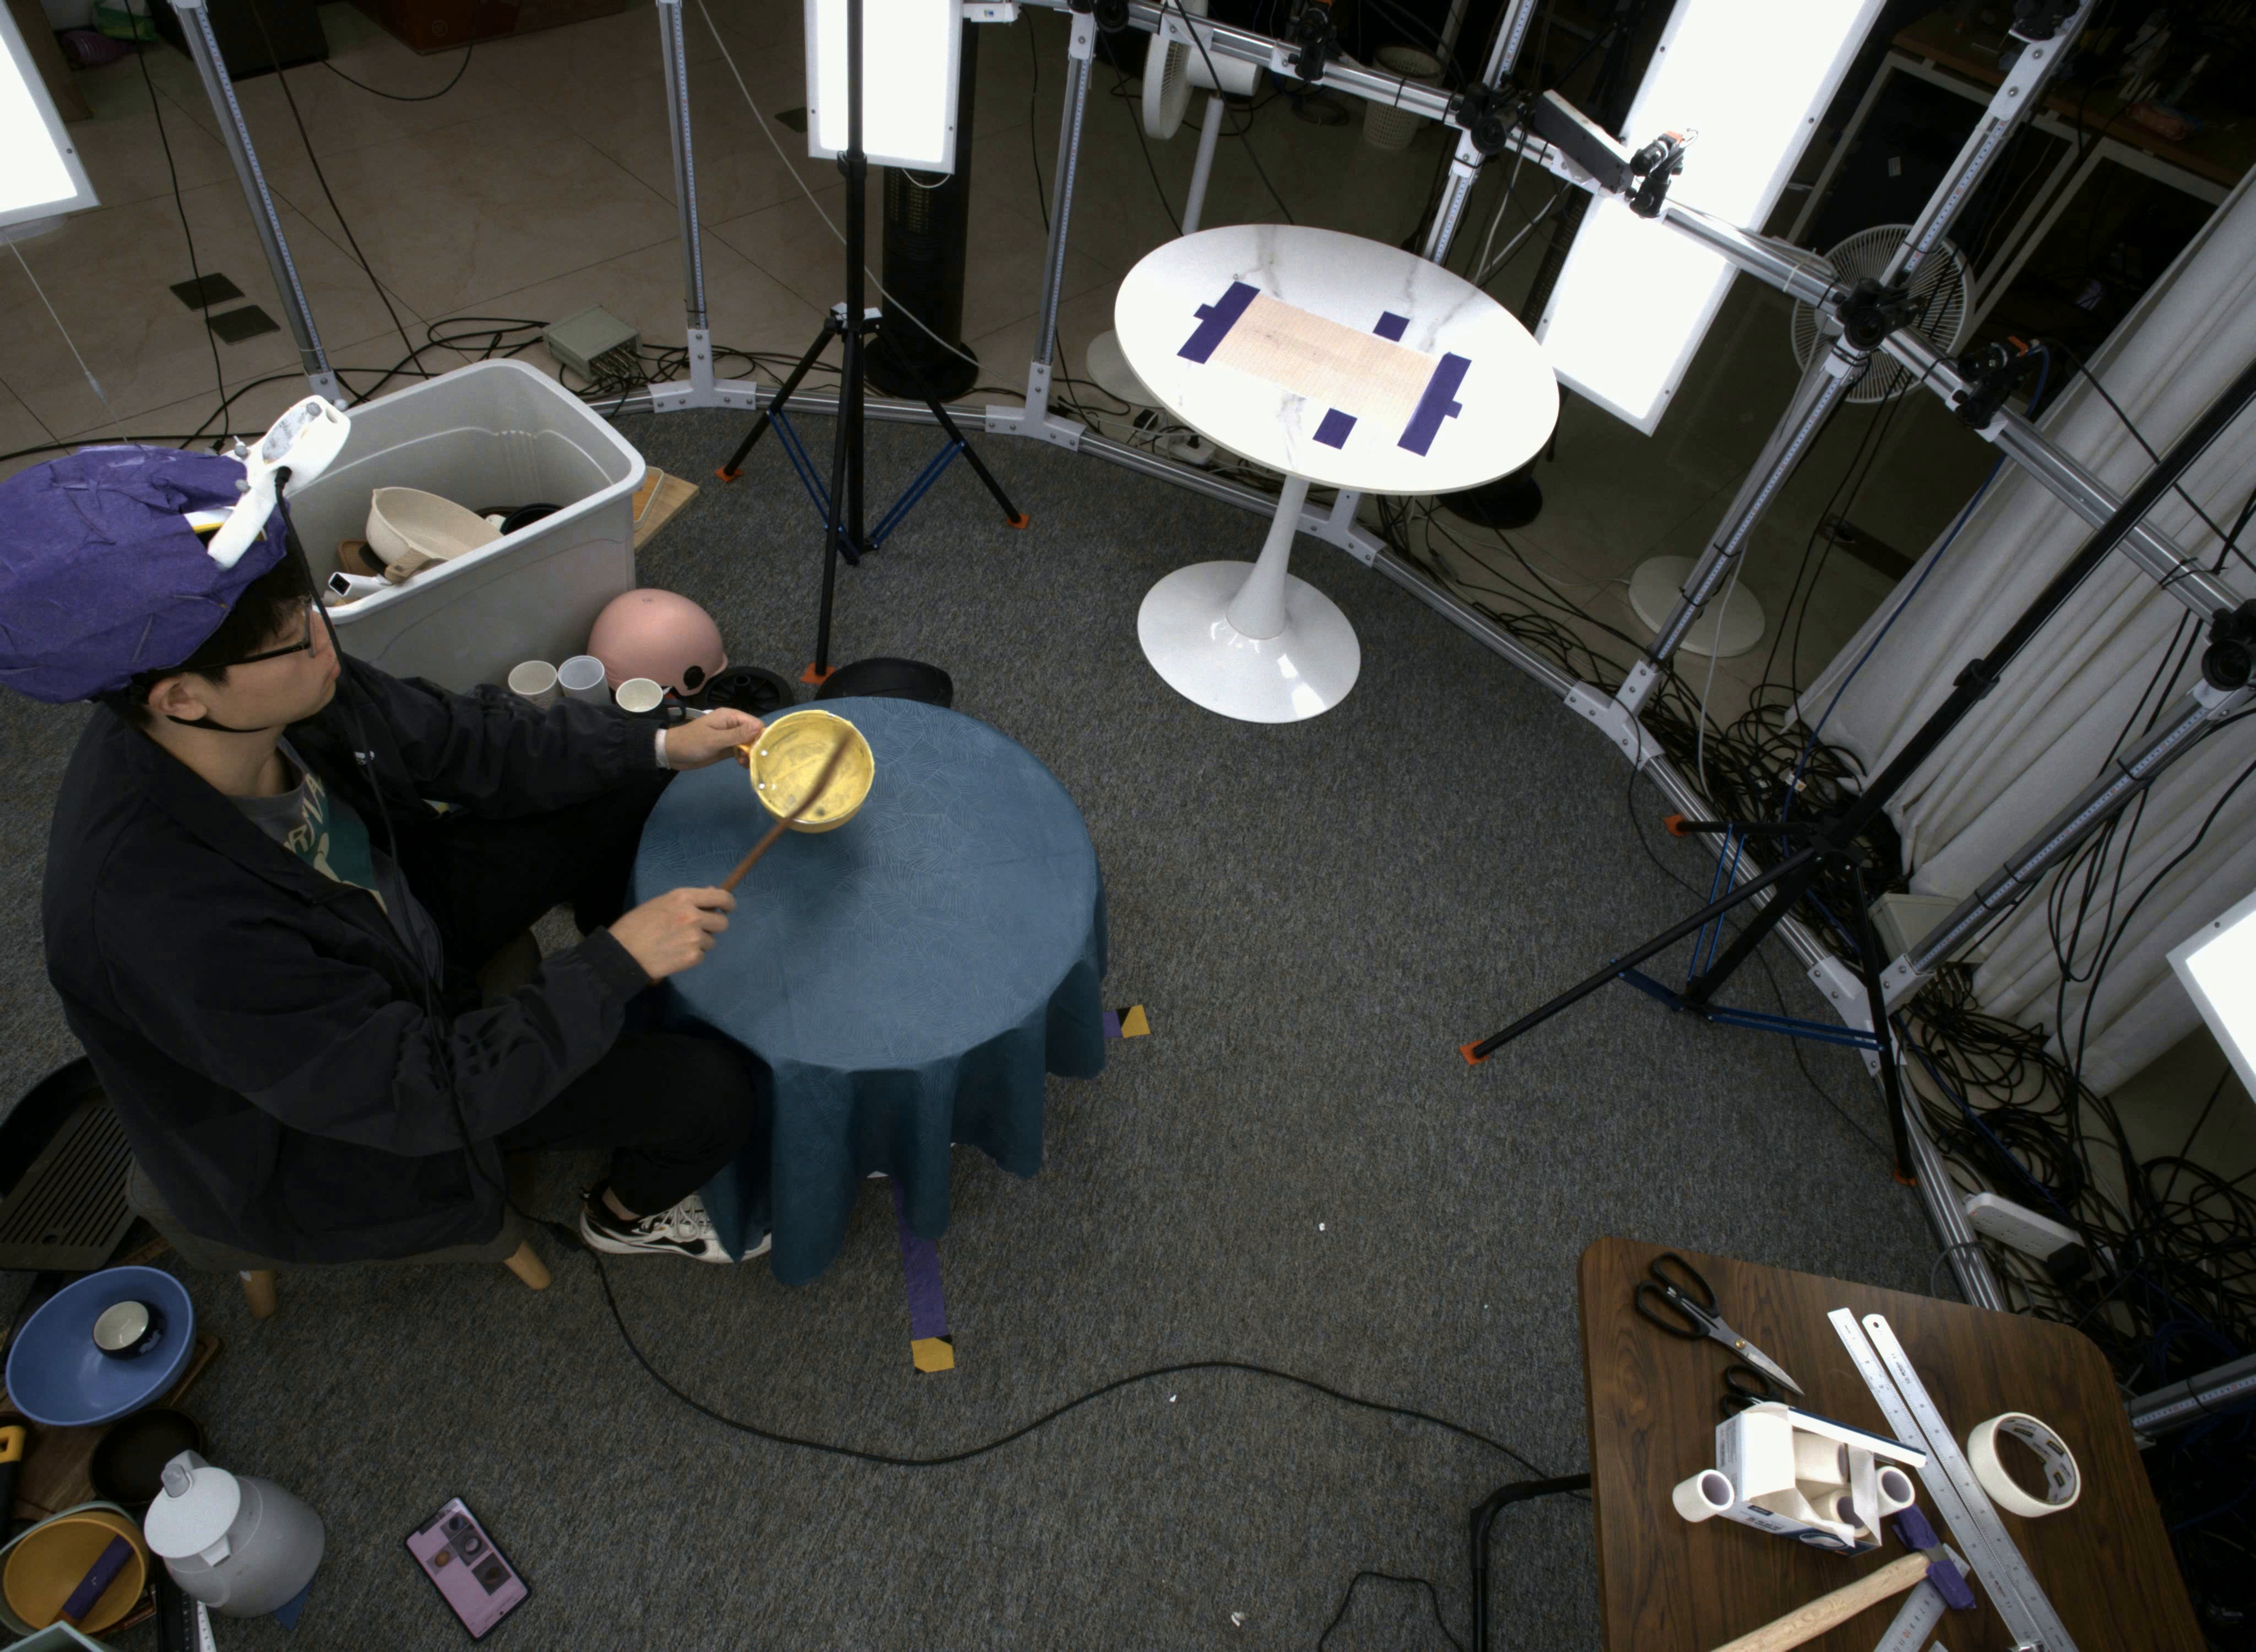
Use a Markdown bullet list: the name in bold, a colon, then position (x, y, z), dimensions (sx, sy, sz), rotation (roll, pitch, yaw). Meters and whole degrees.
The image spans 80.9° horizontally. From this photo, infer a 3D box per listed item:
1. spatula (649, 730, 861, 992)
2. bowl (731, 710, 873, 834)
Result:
- **spatula**: position (-0.427, 0.037, 1.503), dimensions (0.024, 0.084, 0.386), rotation (42, 66, -13)
- **bowl**: position (-0.416, -0.071, 1.649), dimensions (0.179, 0.074, 0.152), rotation (19, 67, -9)
